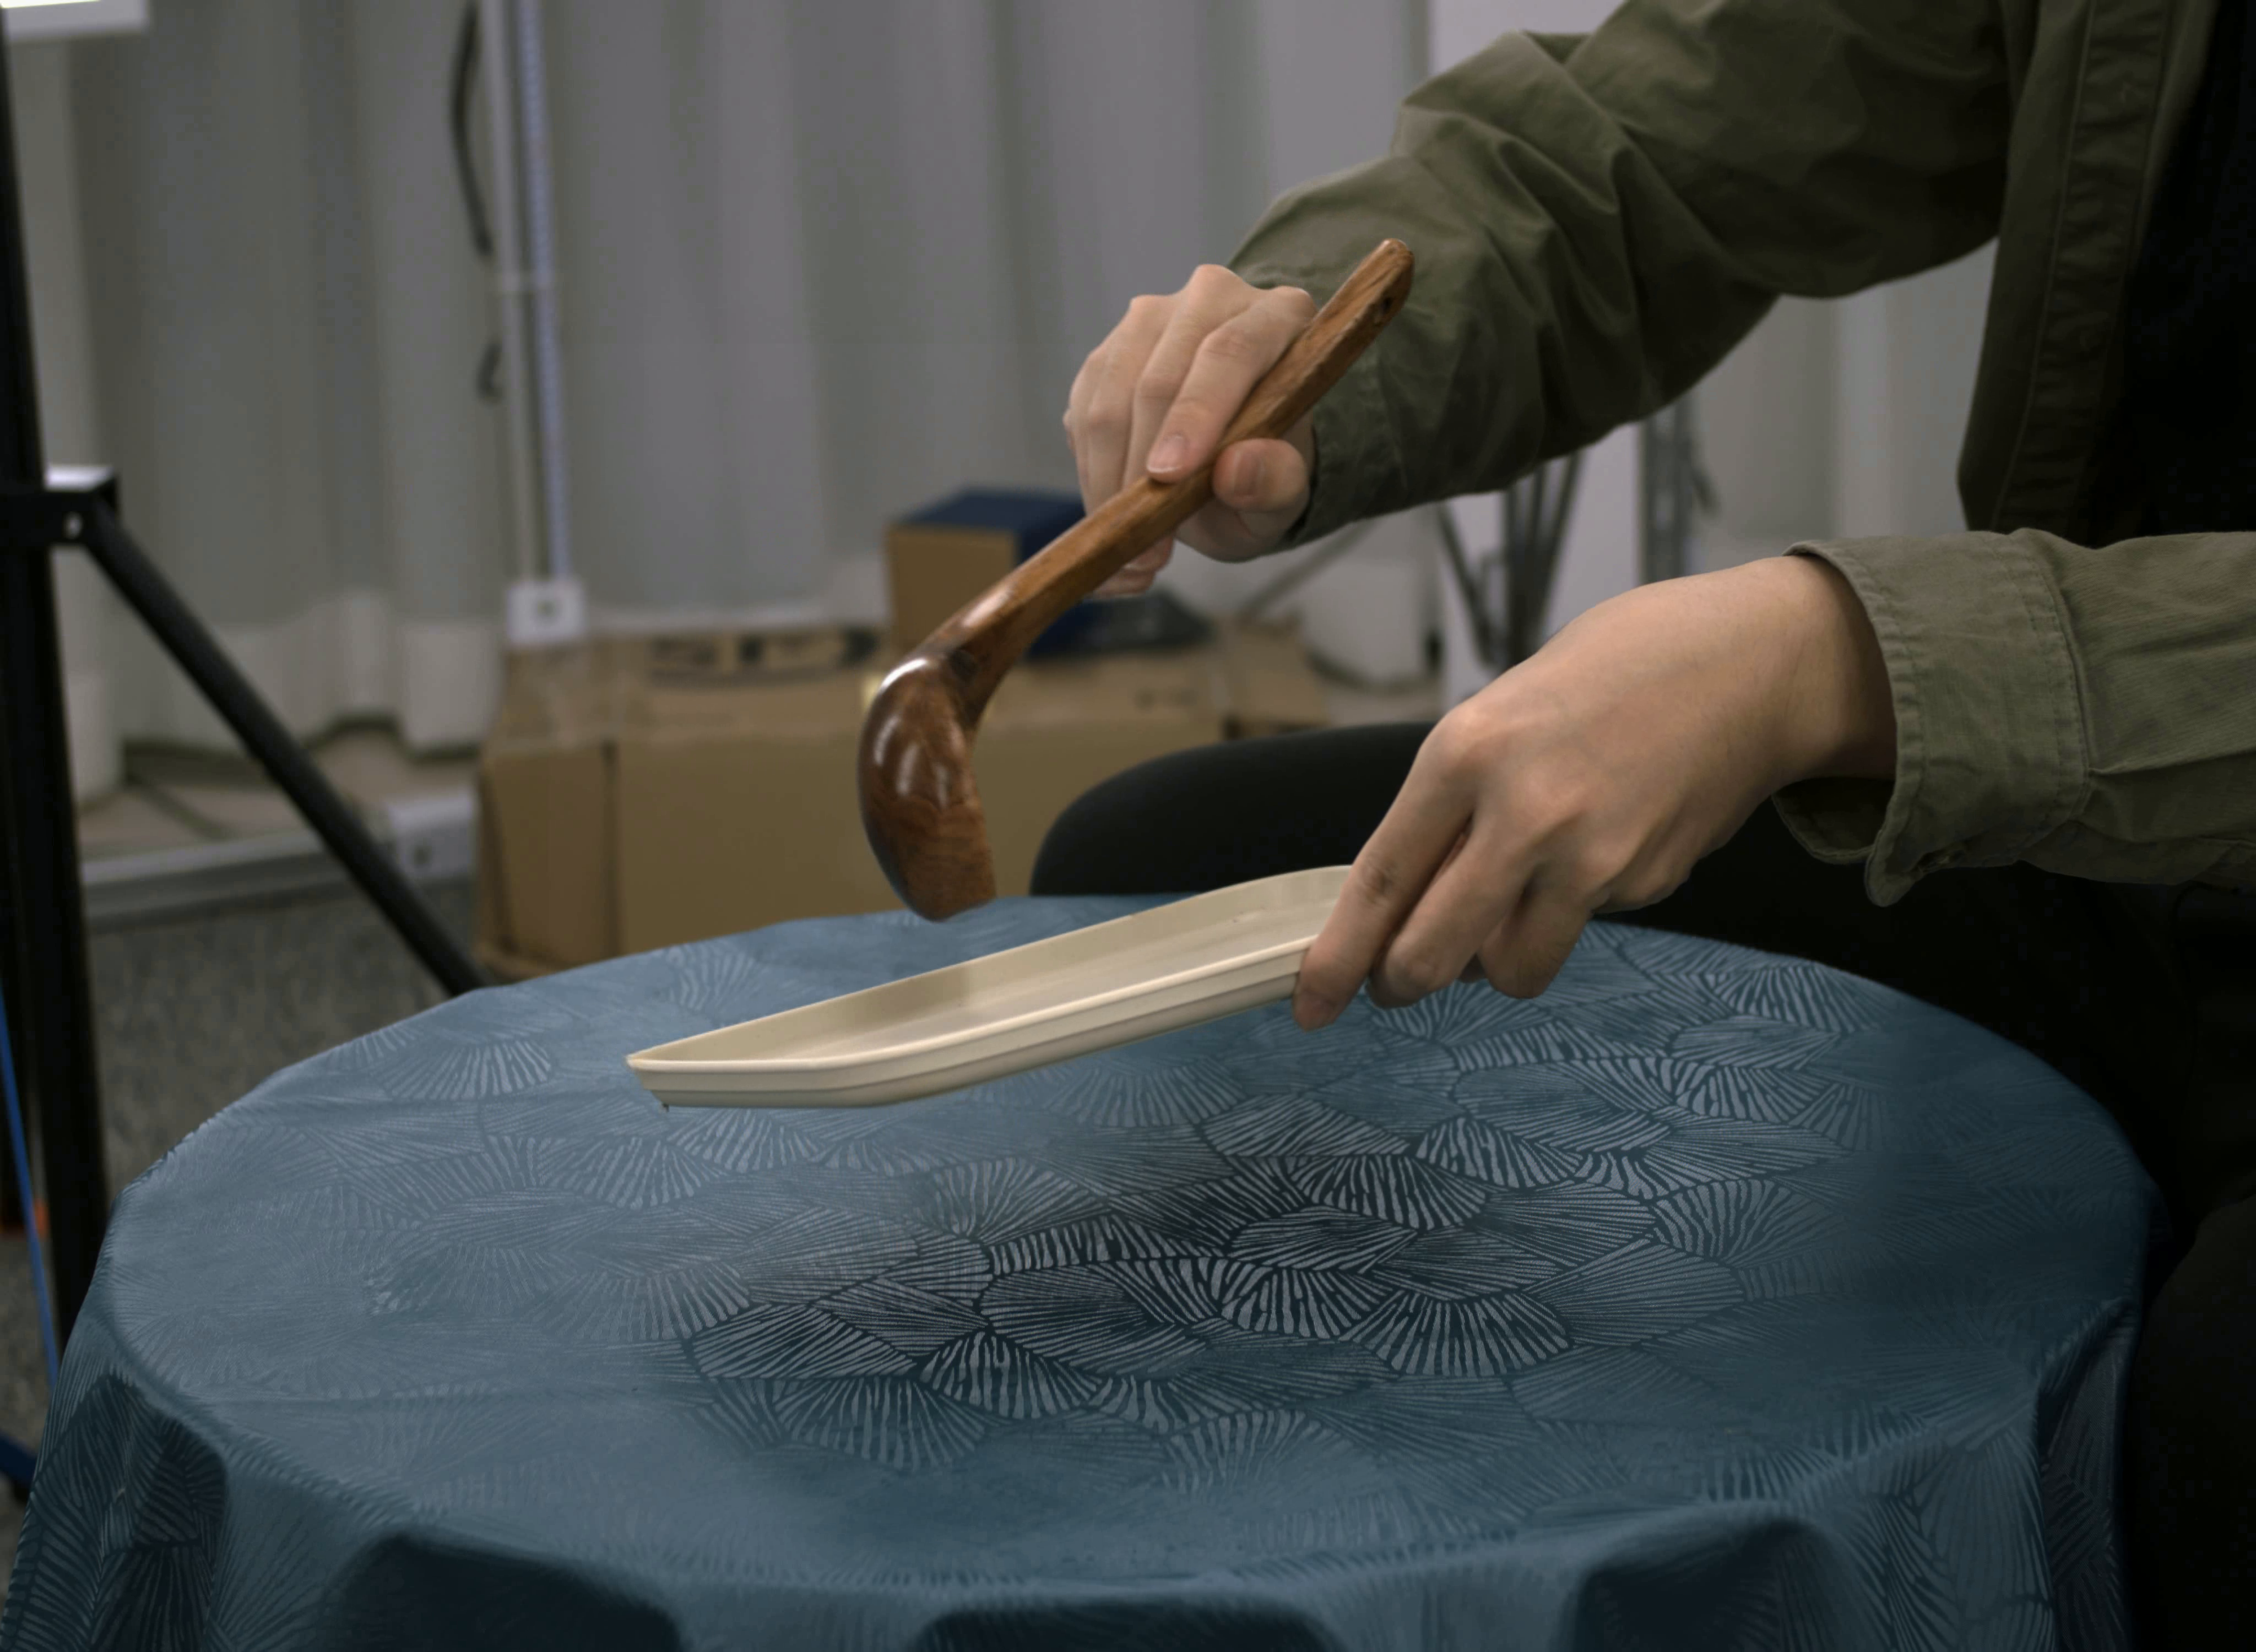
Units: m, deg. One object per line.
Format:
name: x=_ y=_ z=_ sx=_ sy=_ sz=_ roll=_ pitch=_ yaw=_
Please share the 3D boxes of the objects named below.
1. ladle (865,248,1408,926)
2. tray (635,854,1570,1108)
ladle: x=0.018 y=-0.074 z=1.560 sx=0.078 sy=0.081 sz=0.271 roll=37 pitch=60 yaw=20
tray: x=-0.006 y=0.044 z=1.482 sx=0.235 sy=0.017 sz=0.174 roll=-15 pitch=6 yaw=-28
